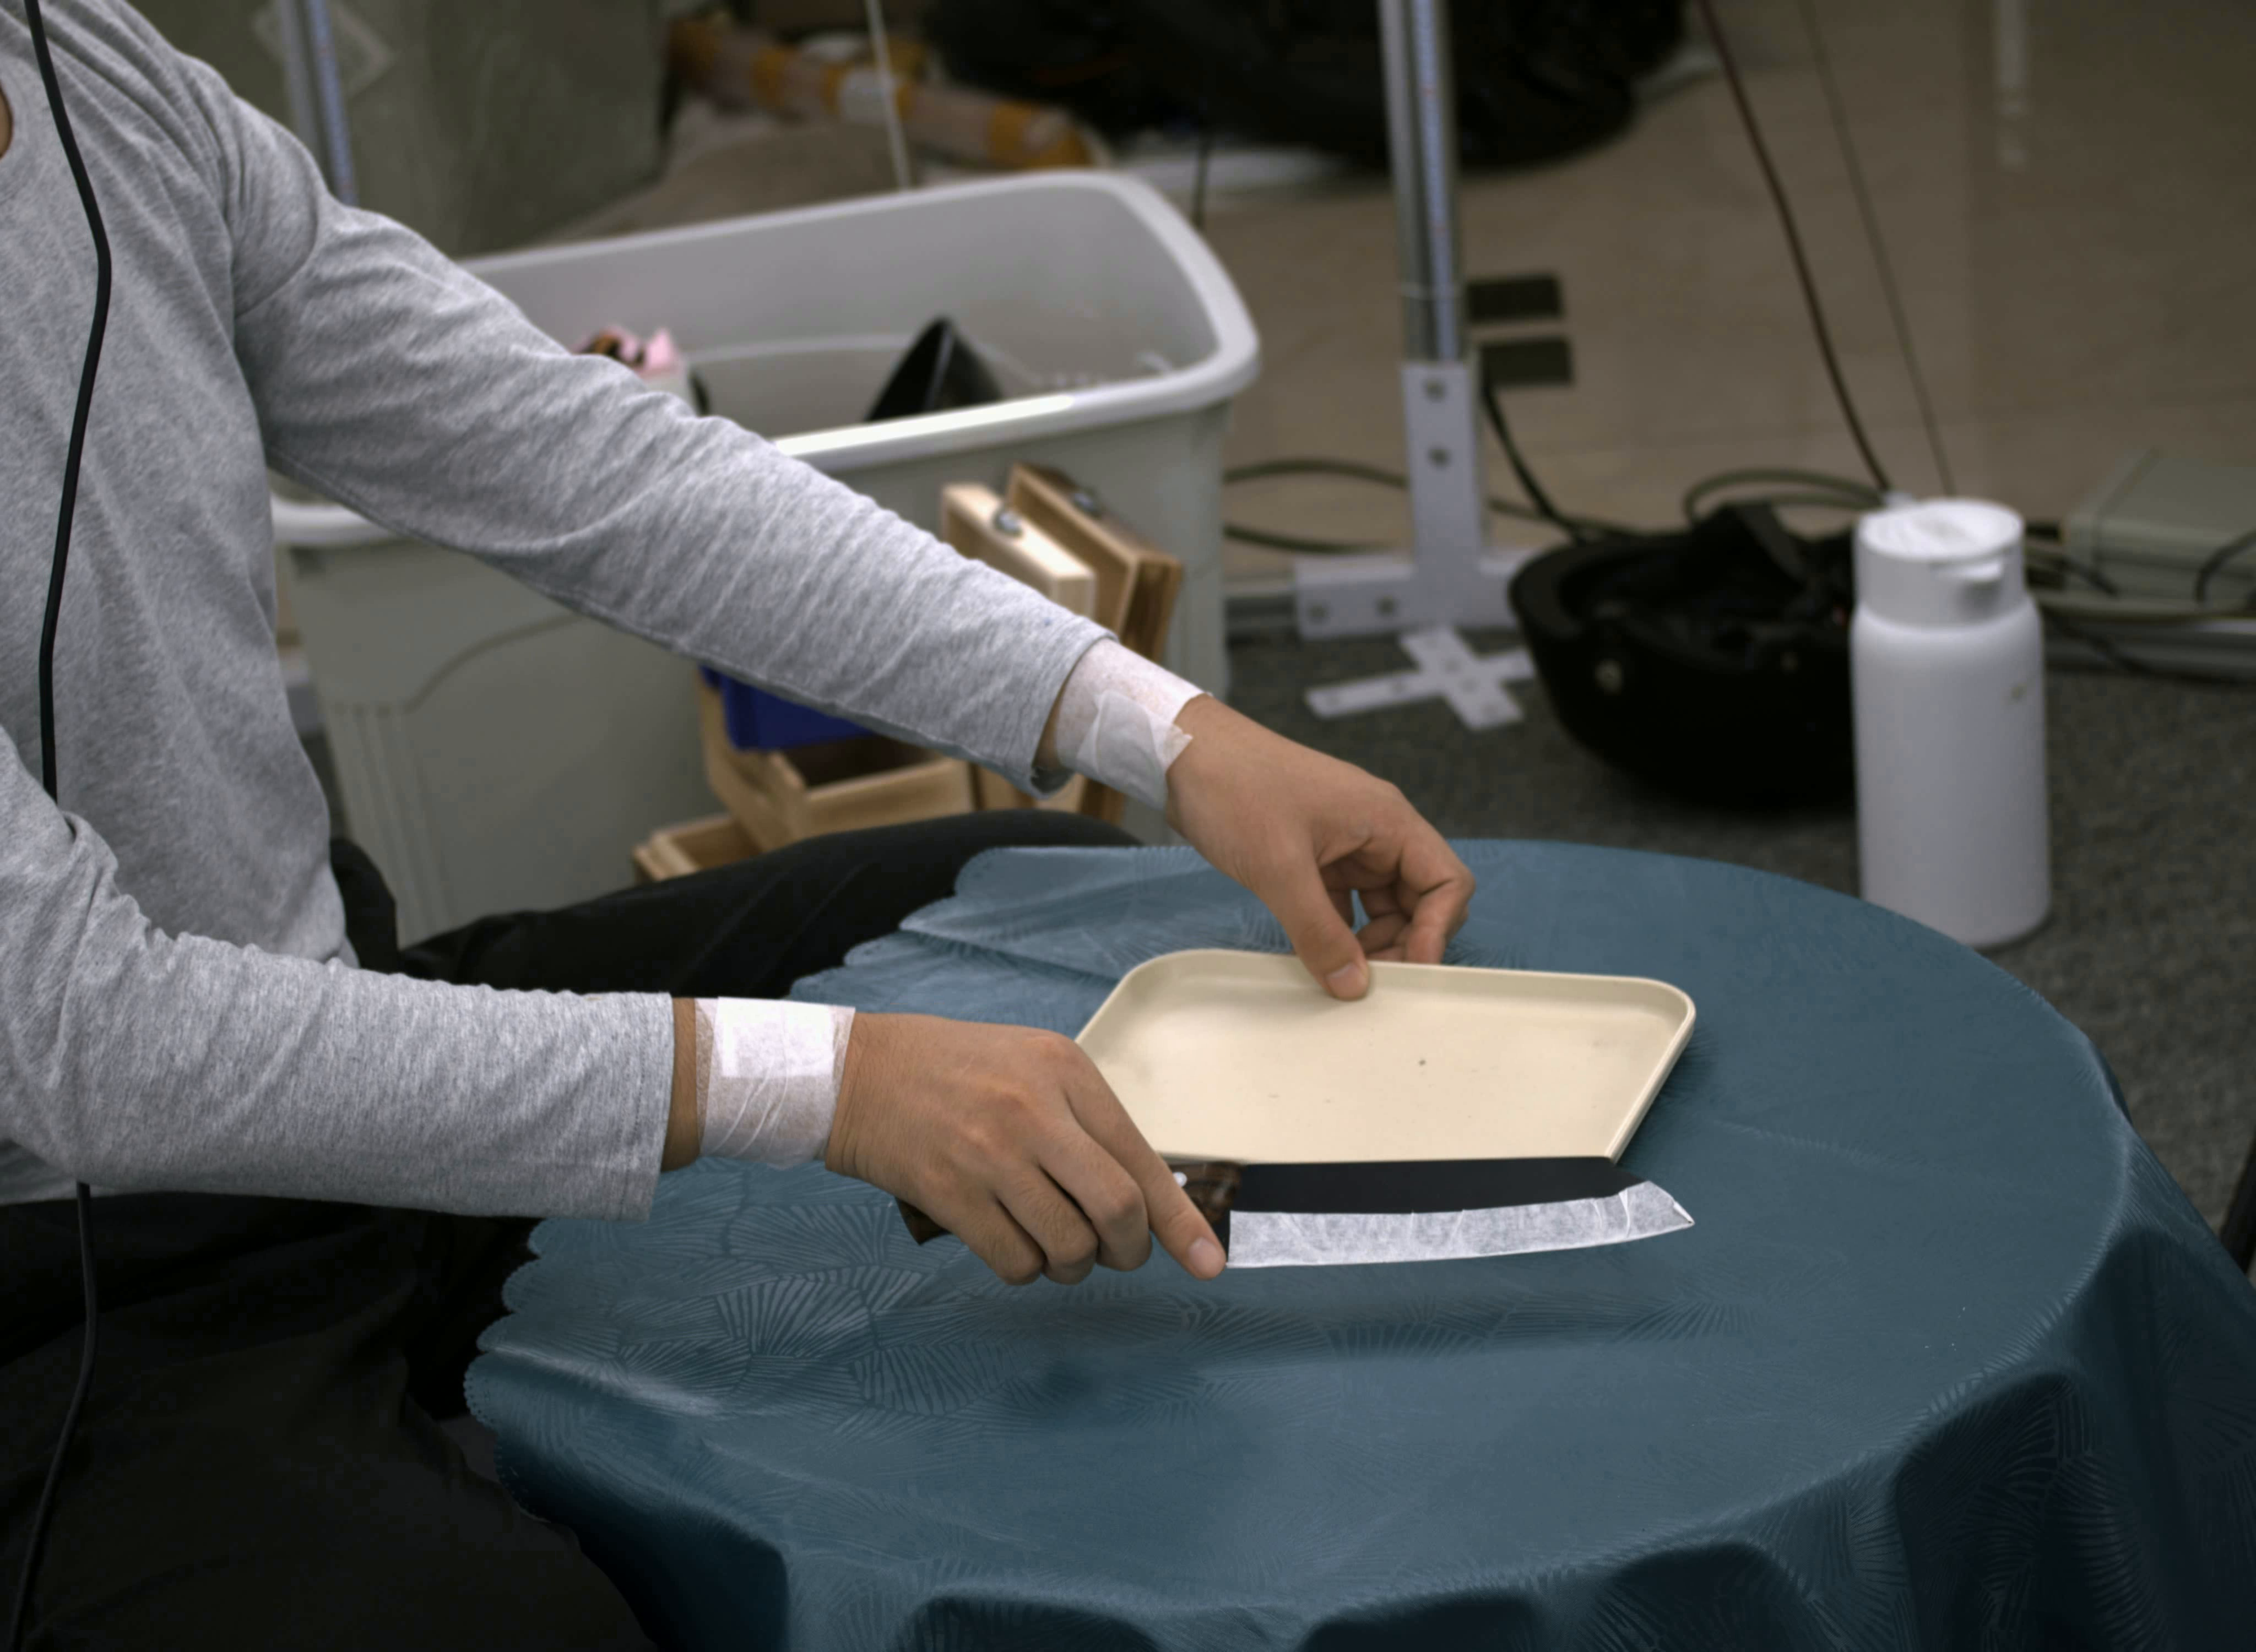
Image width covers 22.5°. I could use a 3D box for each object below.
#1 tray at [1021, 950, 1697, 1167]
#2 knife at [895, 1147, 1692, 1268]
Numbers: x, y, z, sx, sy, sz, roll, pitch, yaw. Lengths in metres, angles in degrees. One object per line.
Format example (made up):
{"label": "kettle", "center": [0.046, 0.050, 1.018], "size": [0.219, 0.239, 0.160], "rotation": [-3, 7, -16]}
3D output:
{"label": "tray", "center": [0.091, 0.098, 2.198], "size": [0.239, 0.018, 0.169], "rotation": [4, 26, 22]}
{"label": "knife", "center": [0.058, 0.137, 2.039], "size": [0.288, 0.020, 0.049], "rotation": [0, 58, 8]}
